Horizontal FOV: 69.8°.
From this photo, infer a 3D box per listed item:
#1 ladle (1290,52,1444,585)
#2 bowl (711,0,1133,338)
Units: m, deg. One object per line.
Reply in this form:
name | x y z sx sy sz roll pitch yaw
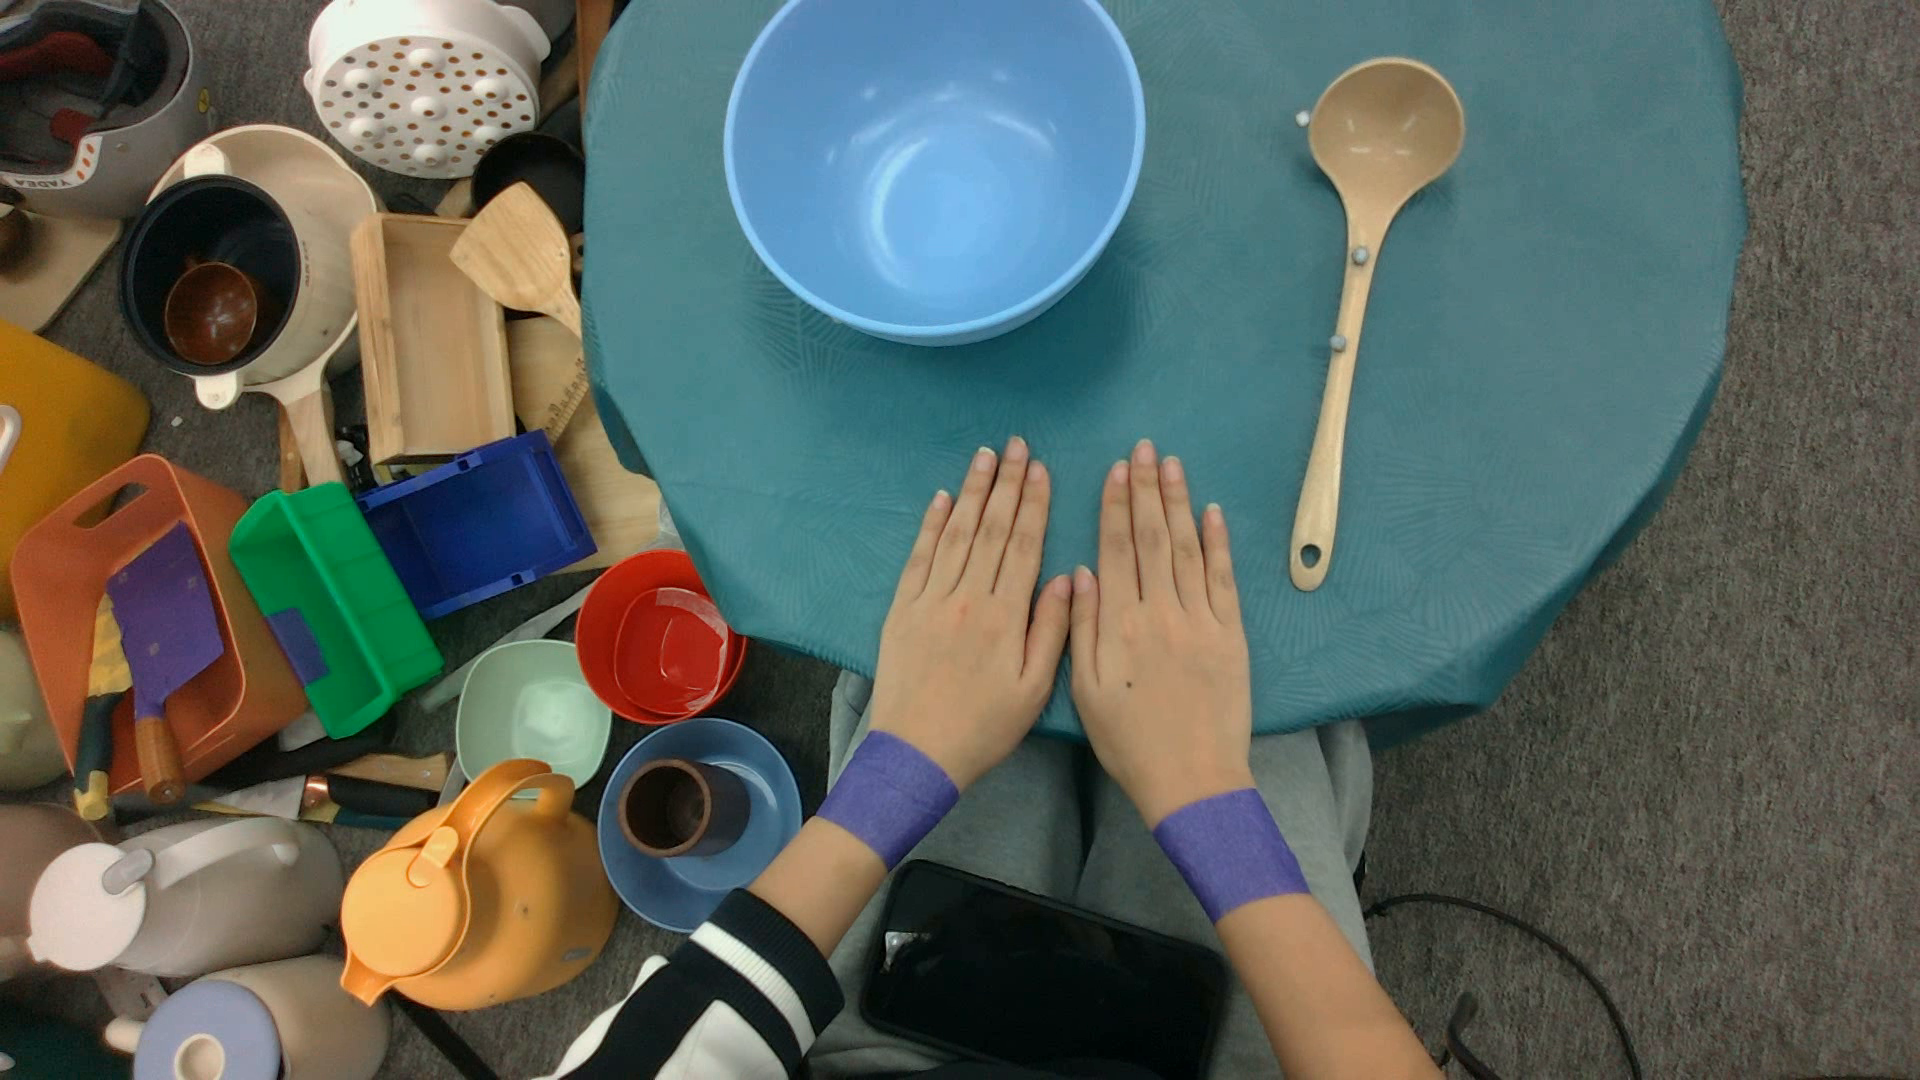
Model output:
ladle | 0.183 -0.109 0.658 0.072 0.073 0.255 8 79 12
bowl | -0.016 -0.182 0.683 0.196 0.095 0.197 -1 78 3
